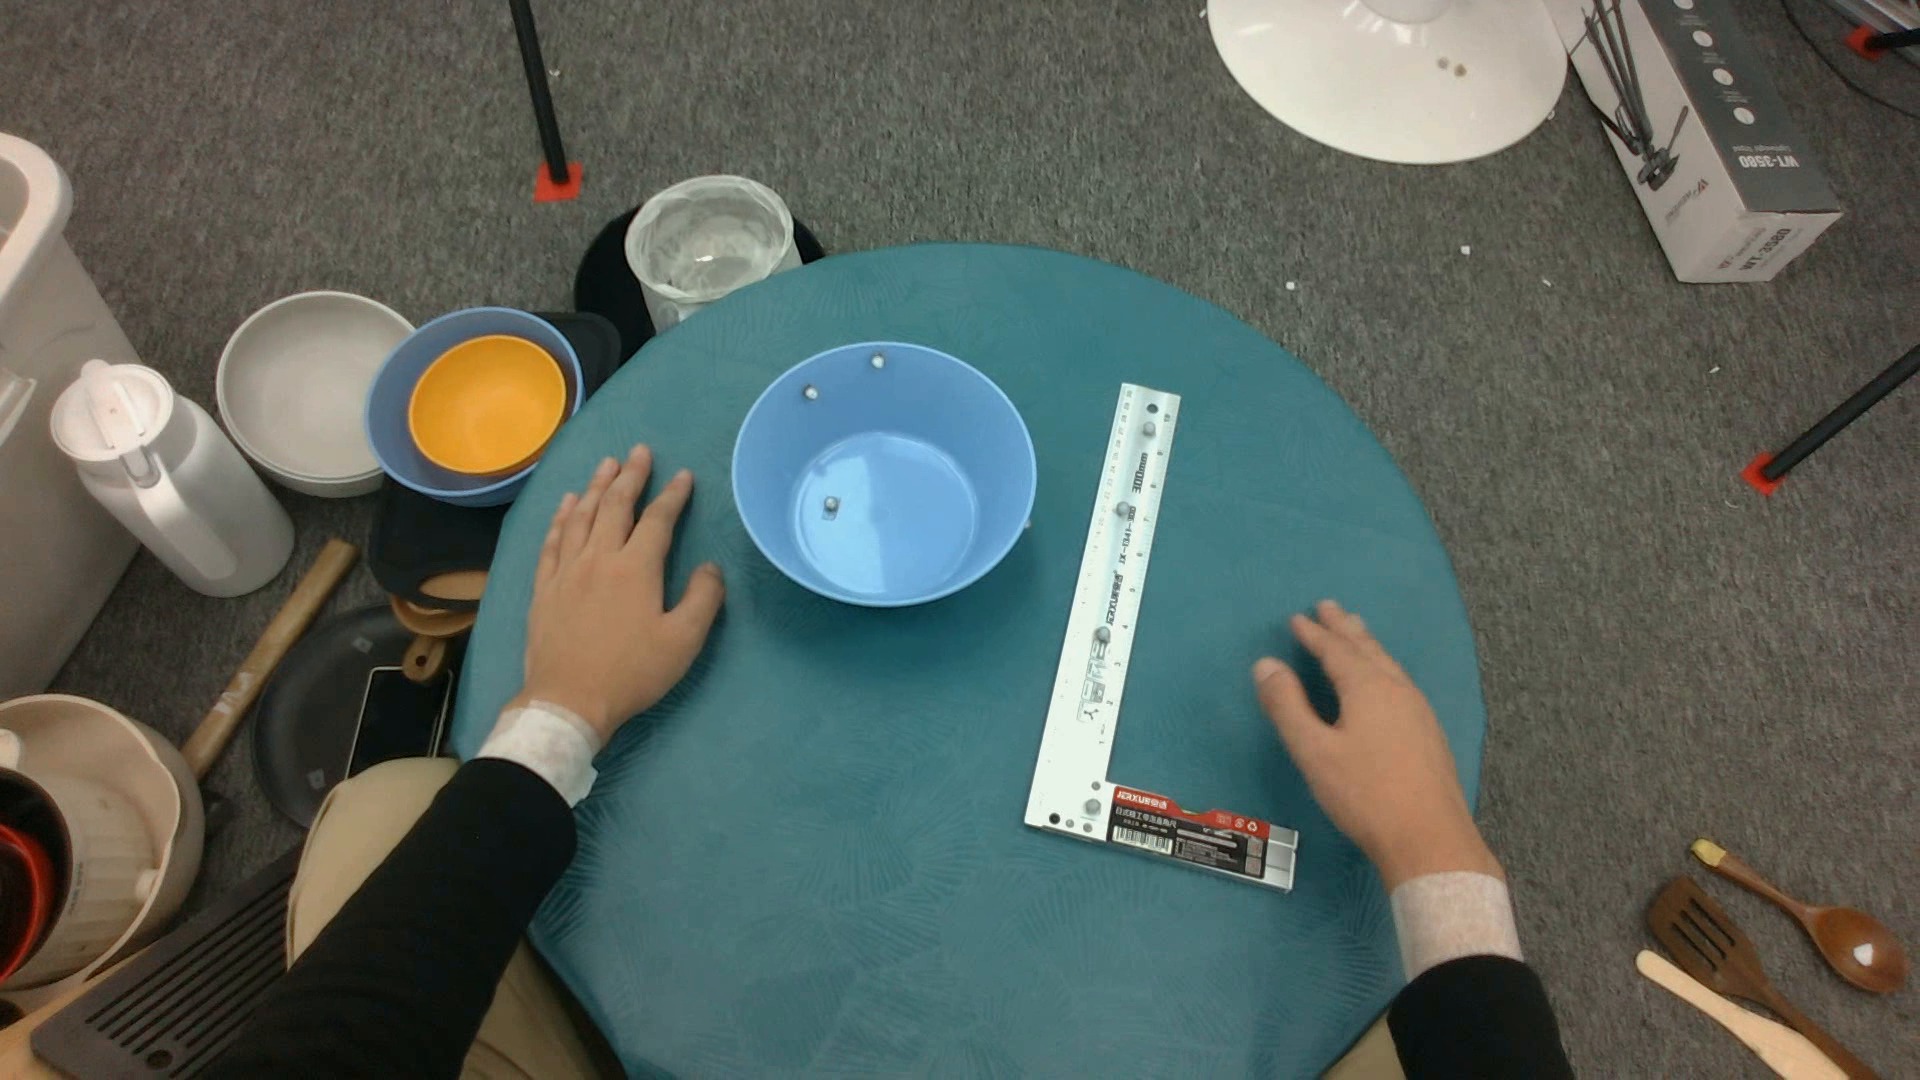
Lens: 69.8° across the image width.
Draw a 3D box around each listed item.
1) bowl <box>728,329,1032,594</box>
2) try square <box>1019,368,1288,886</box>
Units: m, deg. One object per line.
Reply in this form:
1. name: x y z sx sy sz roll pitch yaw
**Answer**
1. bowl: -0.048 -0.035 0.820 0.176 0.070 0.176 2 63 -4
2. try square: 0.140 0.040 0.837 0.152 0.016 0.314 16 62 -1
